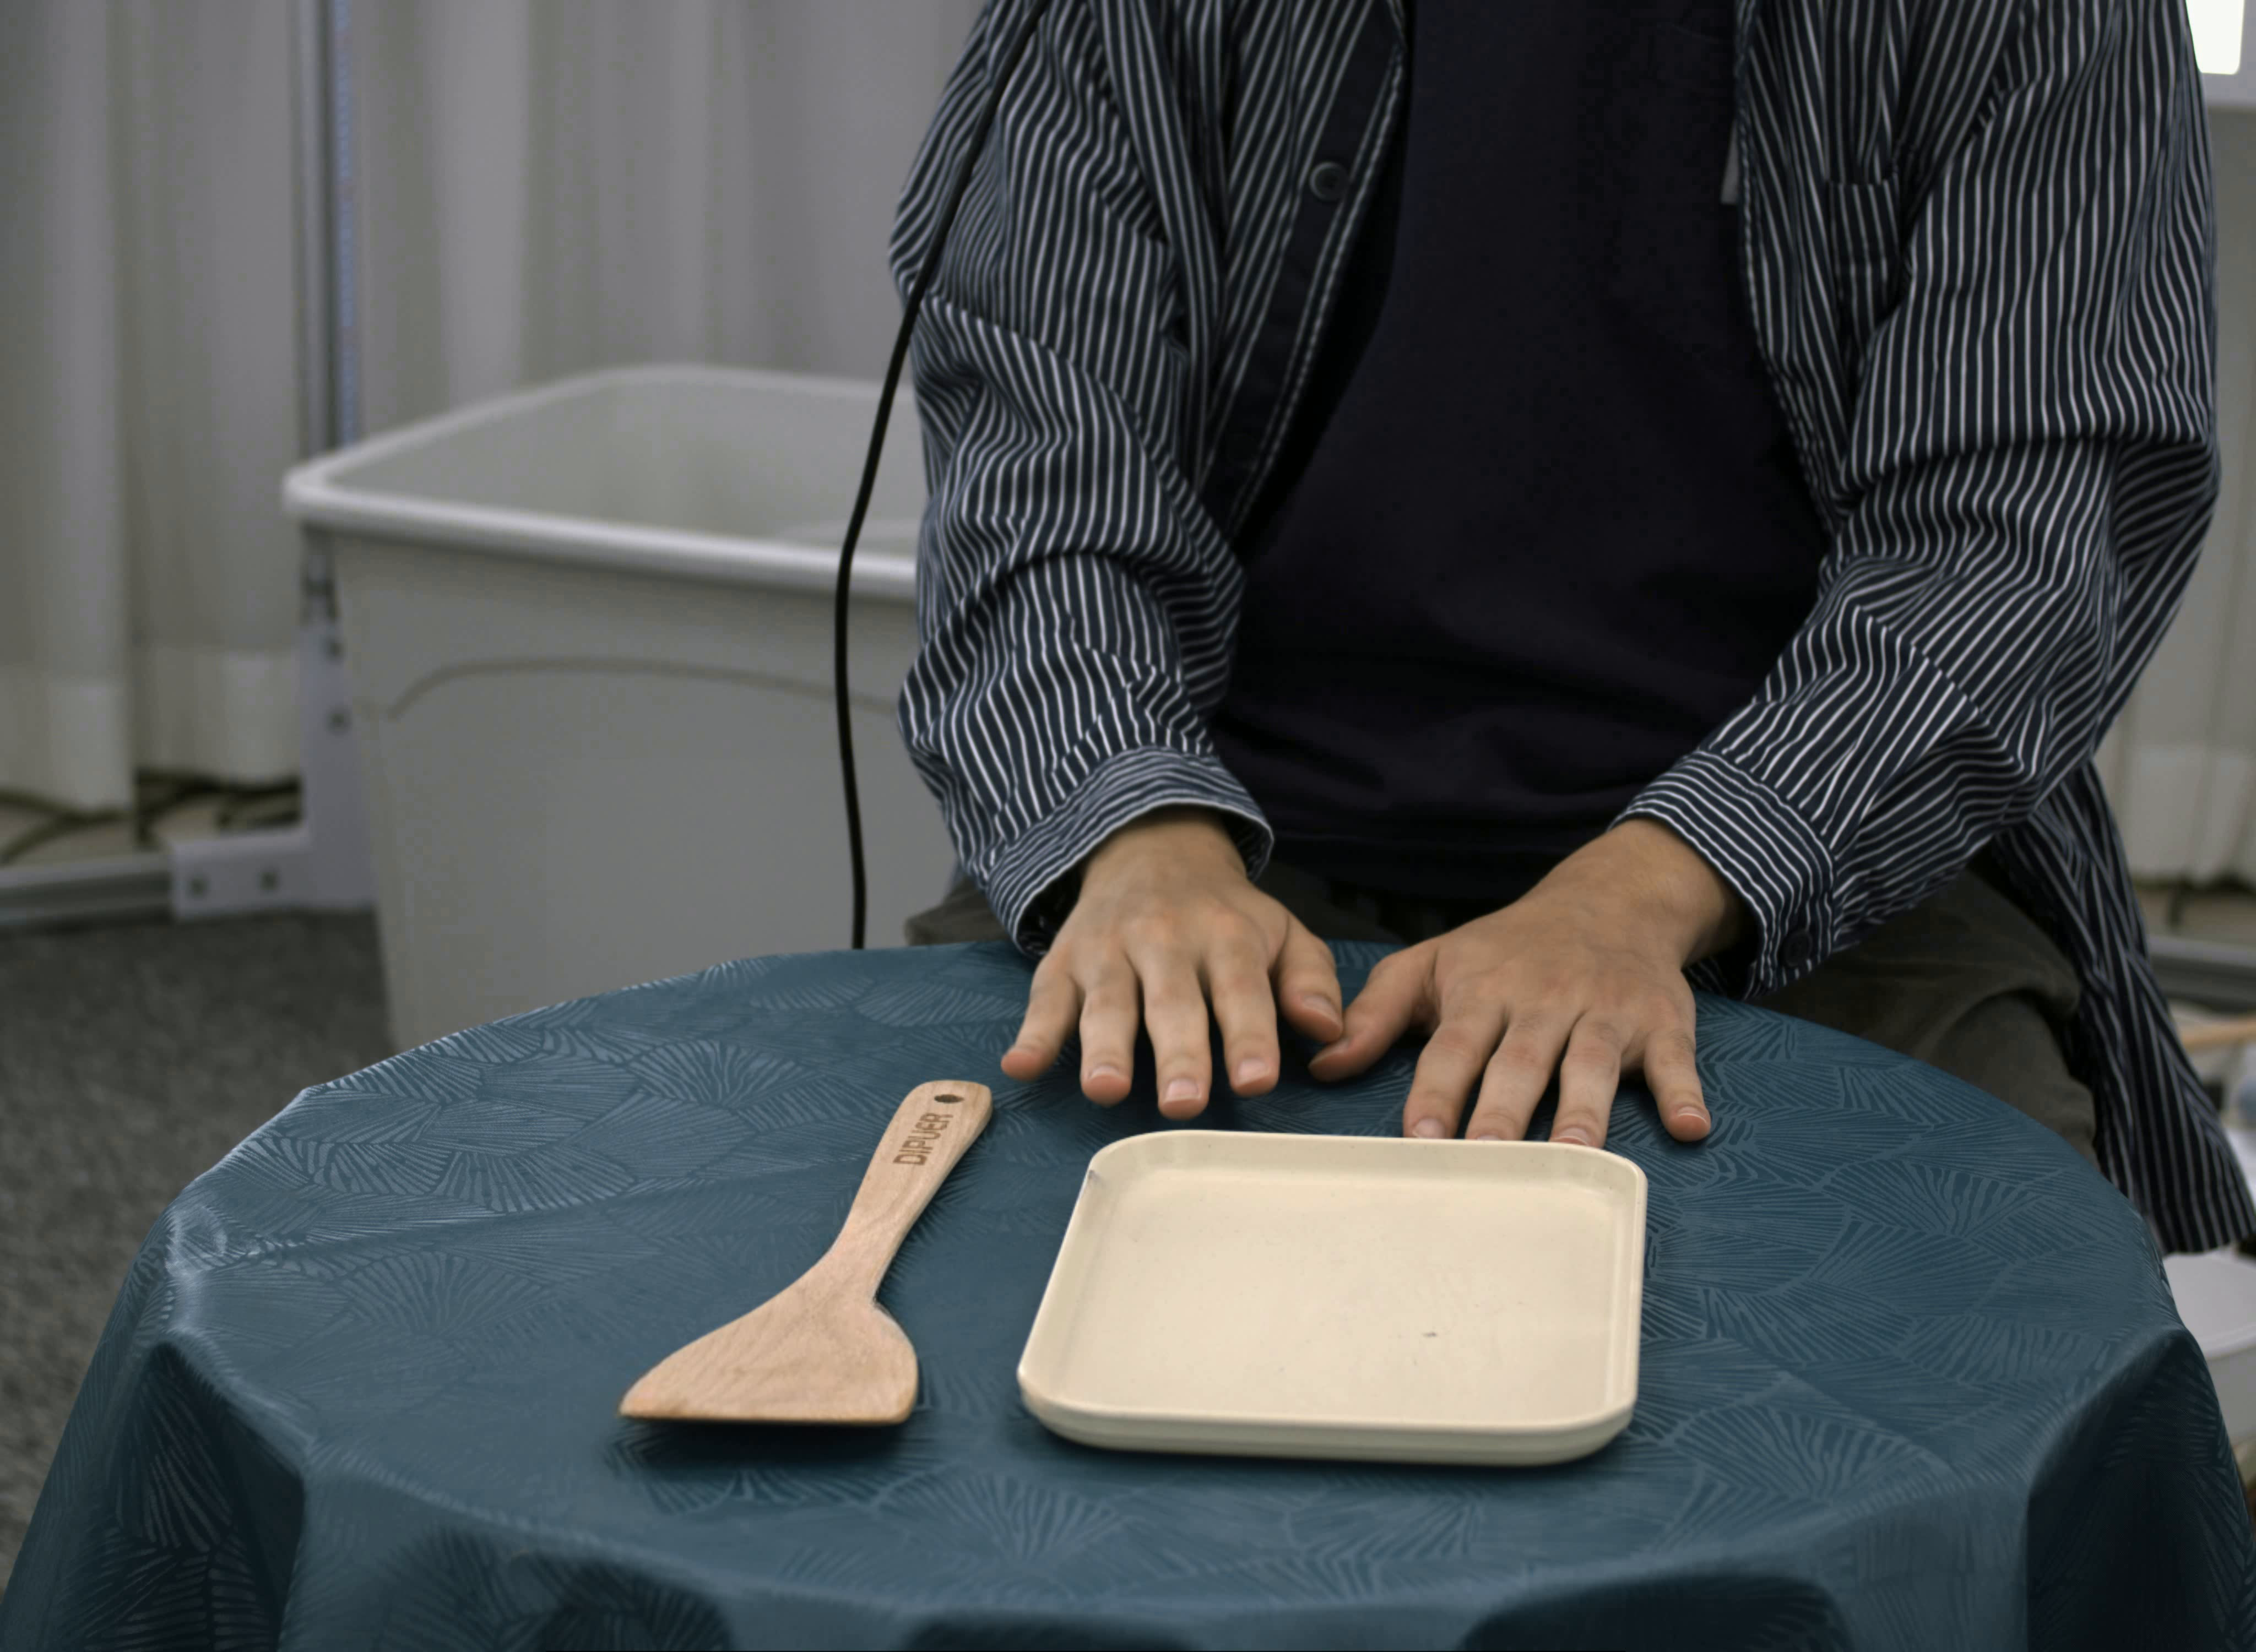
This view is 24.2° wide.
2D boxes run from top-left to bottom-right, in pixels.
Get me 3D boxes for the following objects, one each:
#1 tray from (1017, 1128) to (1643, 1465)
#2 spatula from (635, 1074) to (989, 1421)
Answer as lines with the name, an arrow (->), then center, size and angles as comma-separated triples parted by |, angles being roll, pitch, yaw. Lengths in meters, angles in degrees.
tray -> 0.063, 0.134, 1.519 | 0.170, 0.017, 0.239 | 3, 15, 6
spatula -> -0.076, 0.122, 1.561 | 0.079, 0.016, 0.326 | 3, 16, 7
